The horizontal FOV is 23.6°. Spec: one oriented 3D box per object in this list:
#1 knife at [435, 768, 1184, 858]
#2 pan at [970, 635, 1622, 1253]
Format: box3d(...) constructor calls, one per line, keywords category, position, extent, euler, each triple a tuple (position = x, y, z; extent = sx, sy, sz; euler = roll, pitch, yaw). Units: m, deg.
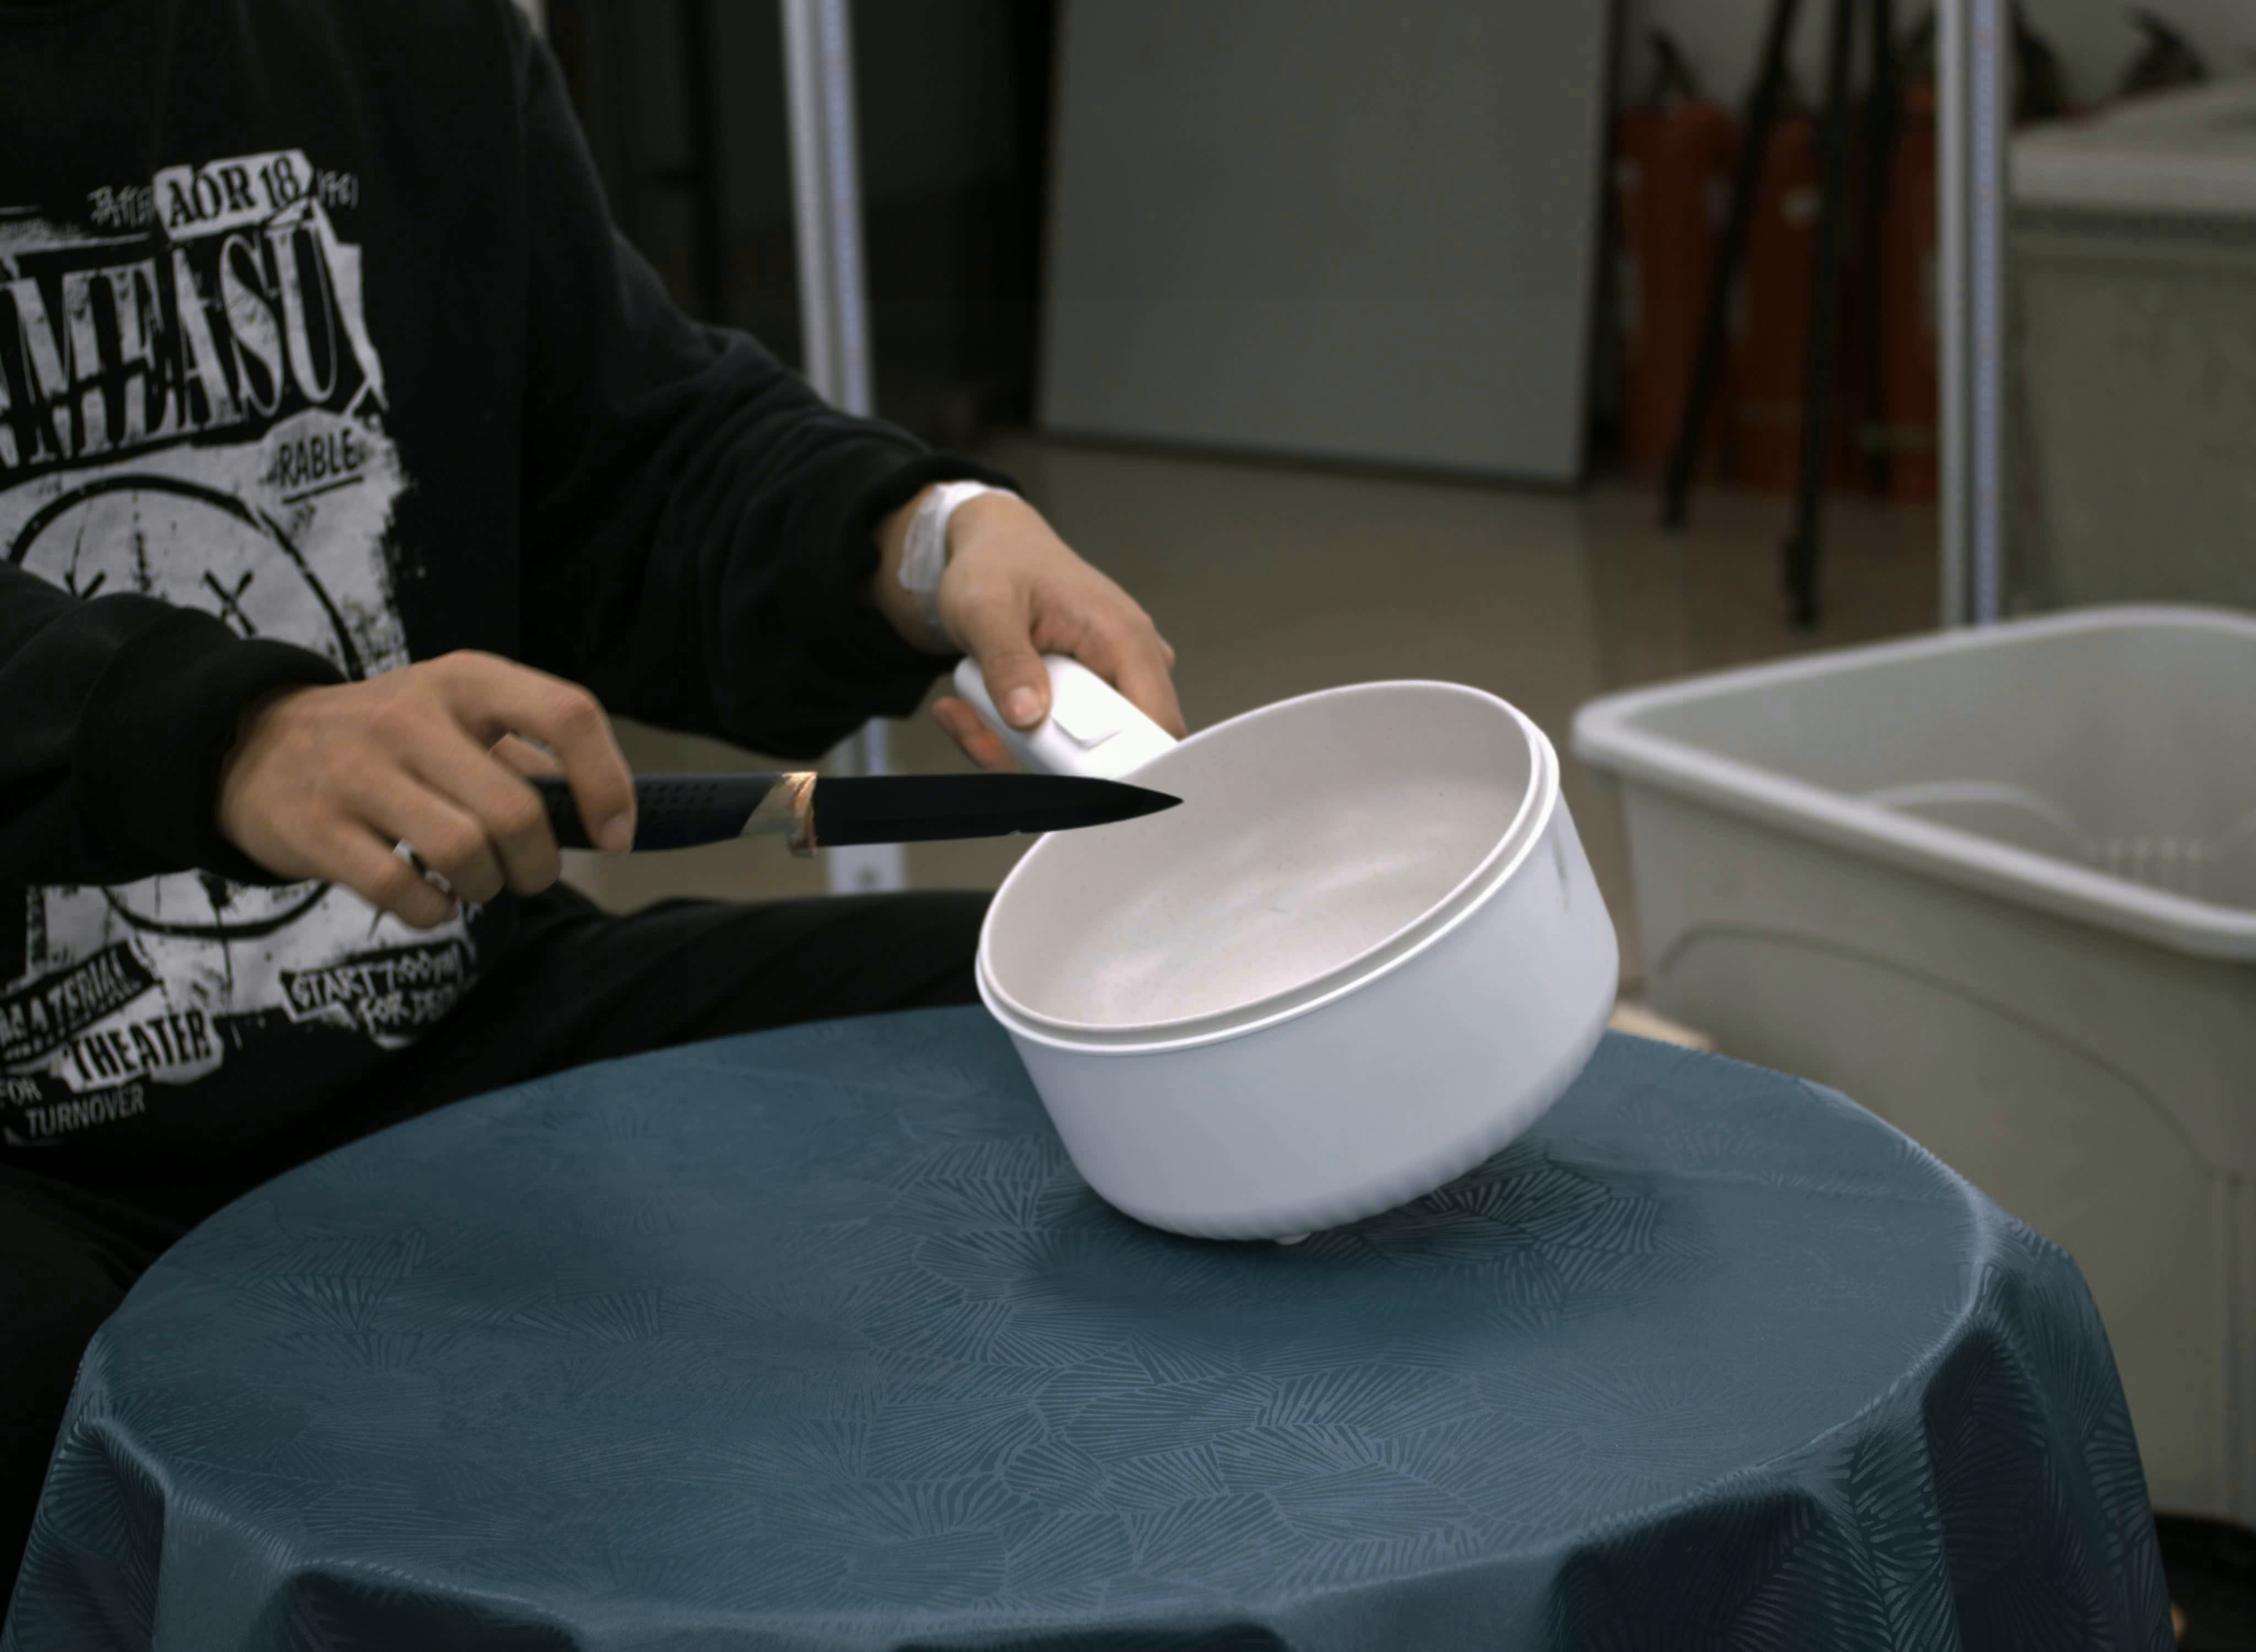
box3d(category="knife", position=(-0.094, -0.004, 1.609), extent=(0.222, 0.026, 0.017), euler=(-2, -1, -5))
box3d(category="pan", position=(0.034, 0.028, 1.817), extent=(0.199, 0.102, 0.358), euler=(-32, 25, -10))
